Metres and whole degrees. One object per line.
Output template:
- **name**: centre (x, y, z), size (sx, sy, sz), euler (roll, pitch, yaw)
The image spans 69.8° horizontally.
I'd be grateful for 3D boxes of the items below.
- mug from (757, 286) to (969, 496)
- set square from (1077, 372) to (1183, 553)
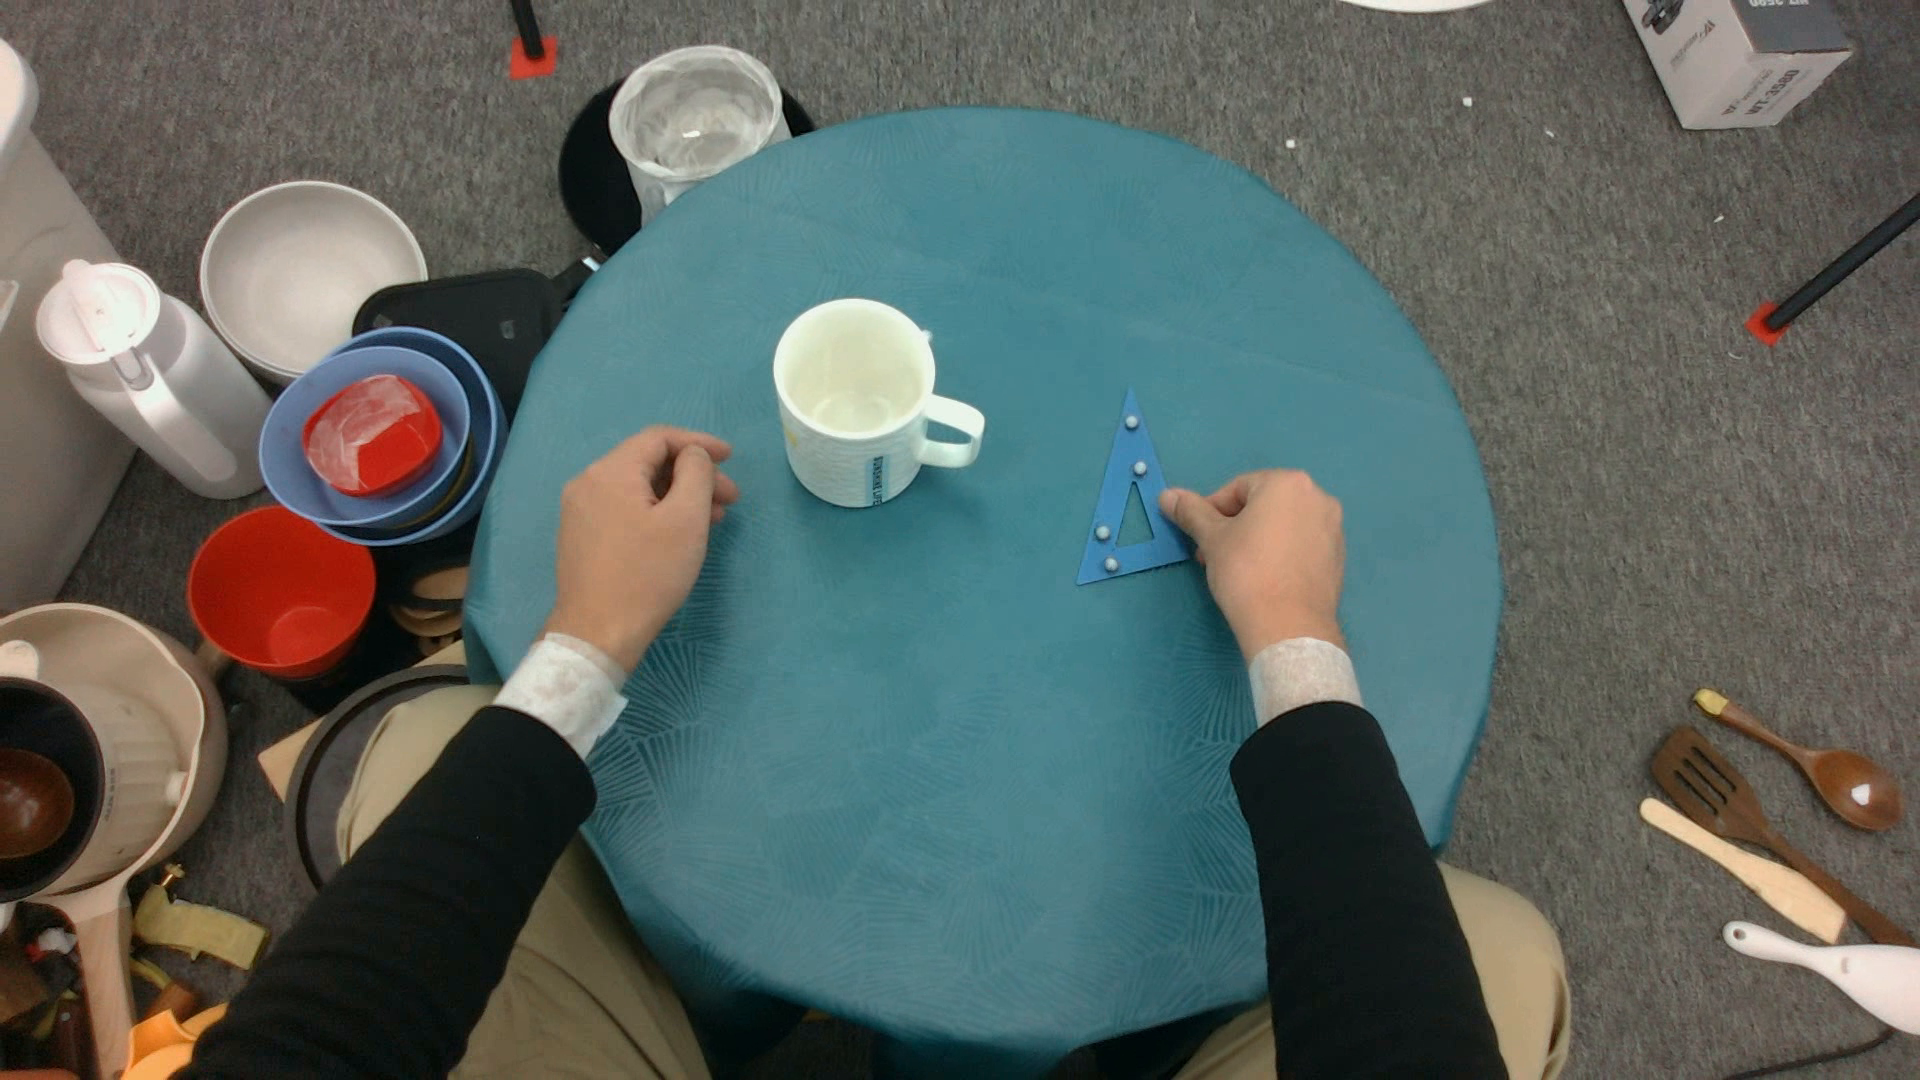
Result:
- **mug**: centre (-0.053, -0.077, 0.781), size (0.118, 0.101, 0.085), euler (17, 68, 2)
- **set square**: centre (0.116, -0.041, 0.834), size (0.061, 0.006, 0.132), euler (19, 68, 5)
